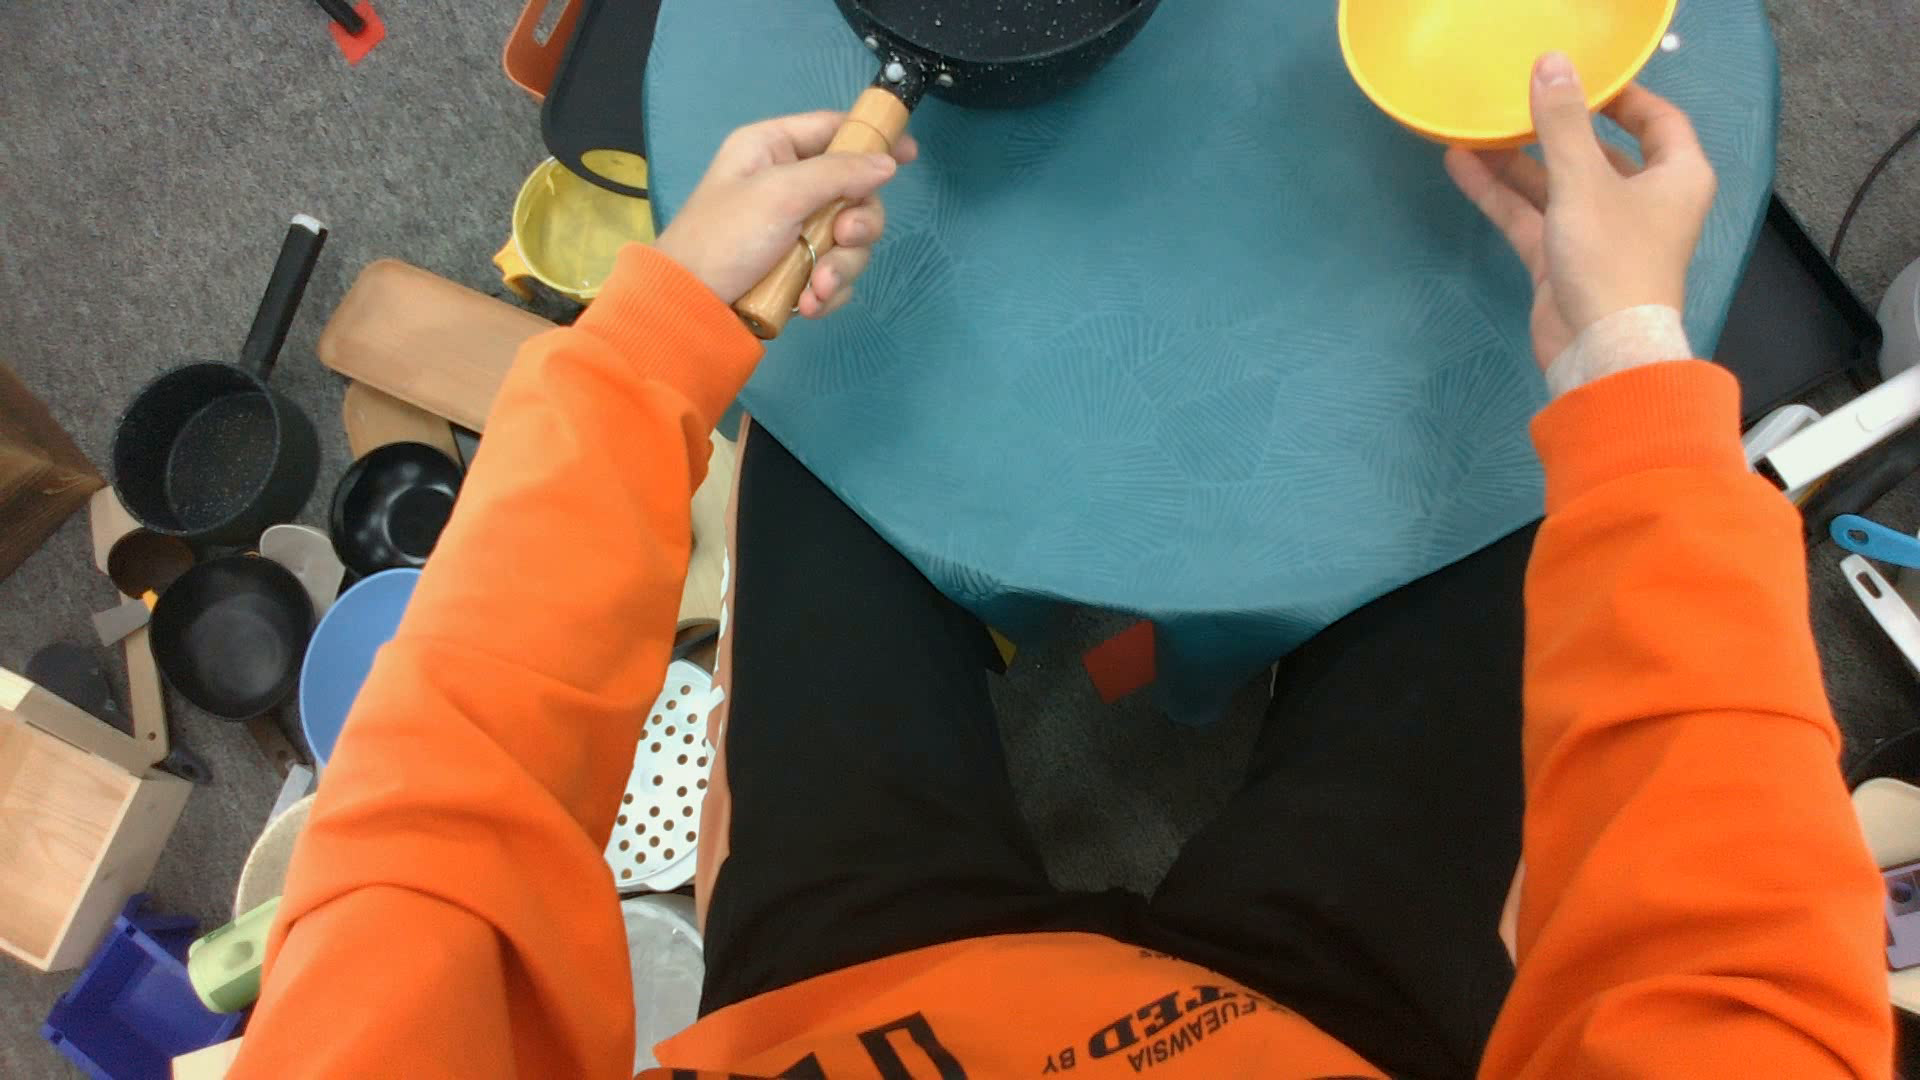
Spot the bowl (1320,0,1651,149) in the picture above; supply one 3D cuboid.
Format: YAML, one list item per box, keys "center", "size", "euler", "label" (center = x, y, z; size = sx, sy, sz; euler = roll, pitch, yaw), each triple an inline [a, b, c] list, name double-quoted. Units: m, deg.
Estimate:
- center: [0.250, -0.243, 0.661]
  size: [0.145, 0.060, 0.145]
  euler: [-6, 73, 20]
  label: "bowl"

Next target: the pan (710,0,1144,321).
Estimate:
- center: [-0.022, -0.242, 0.674]
  size: [0.207, 0.108, 0.343]
  euler: [25, 81, 4]
  label: "pan"
